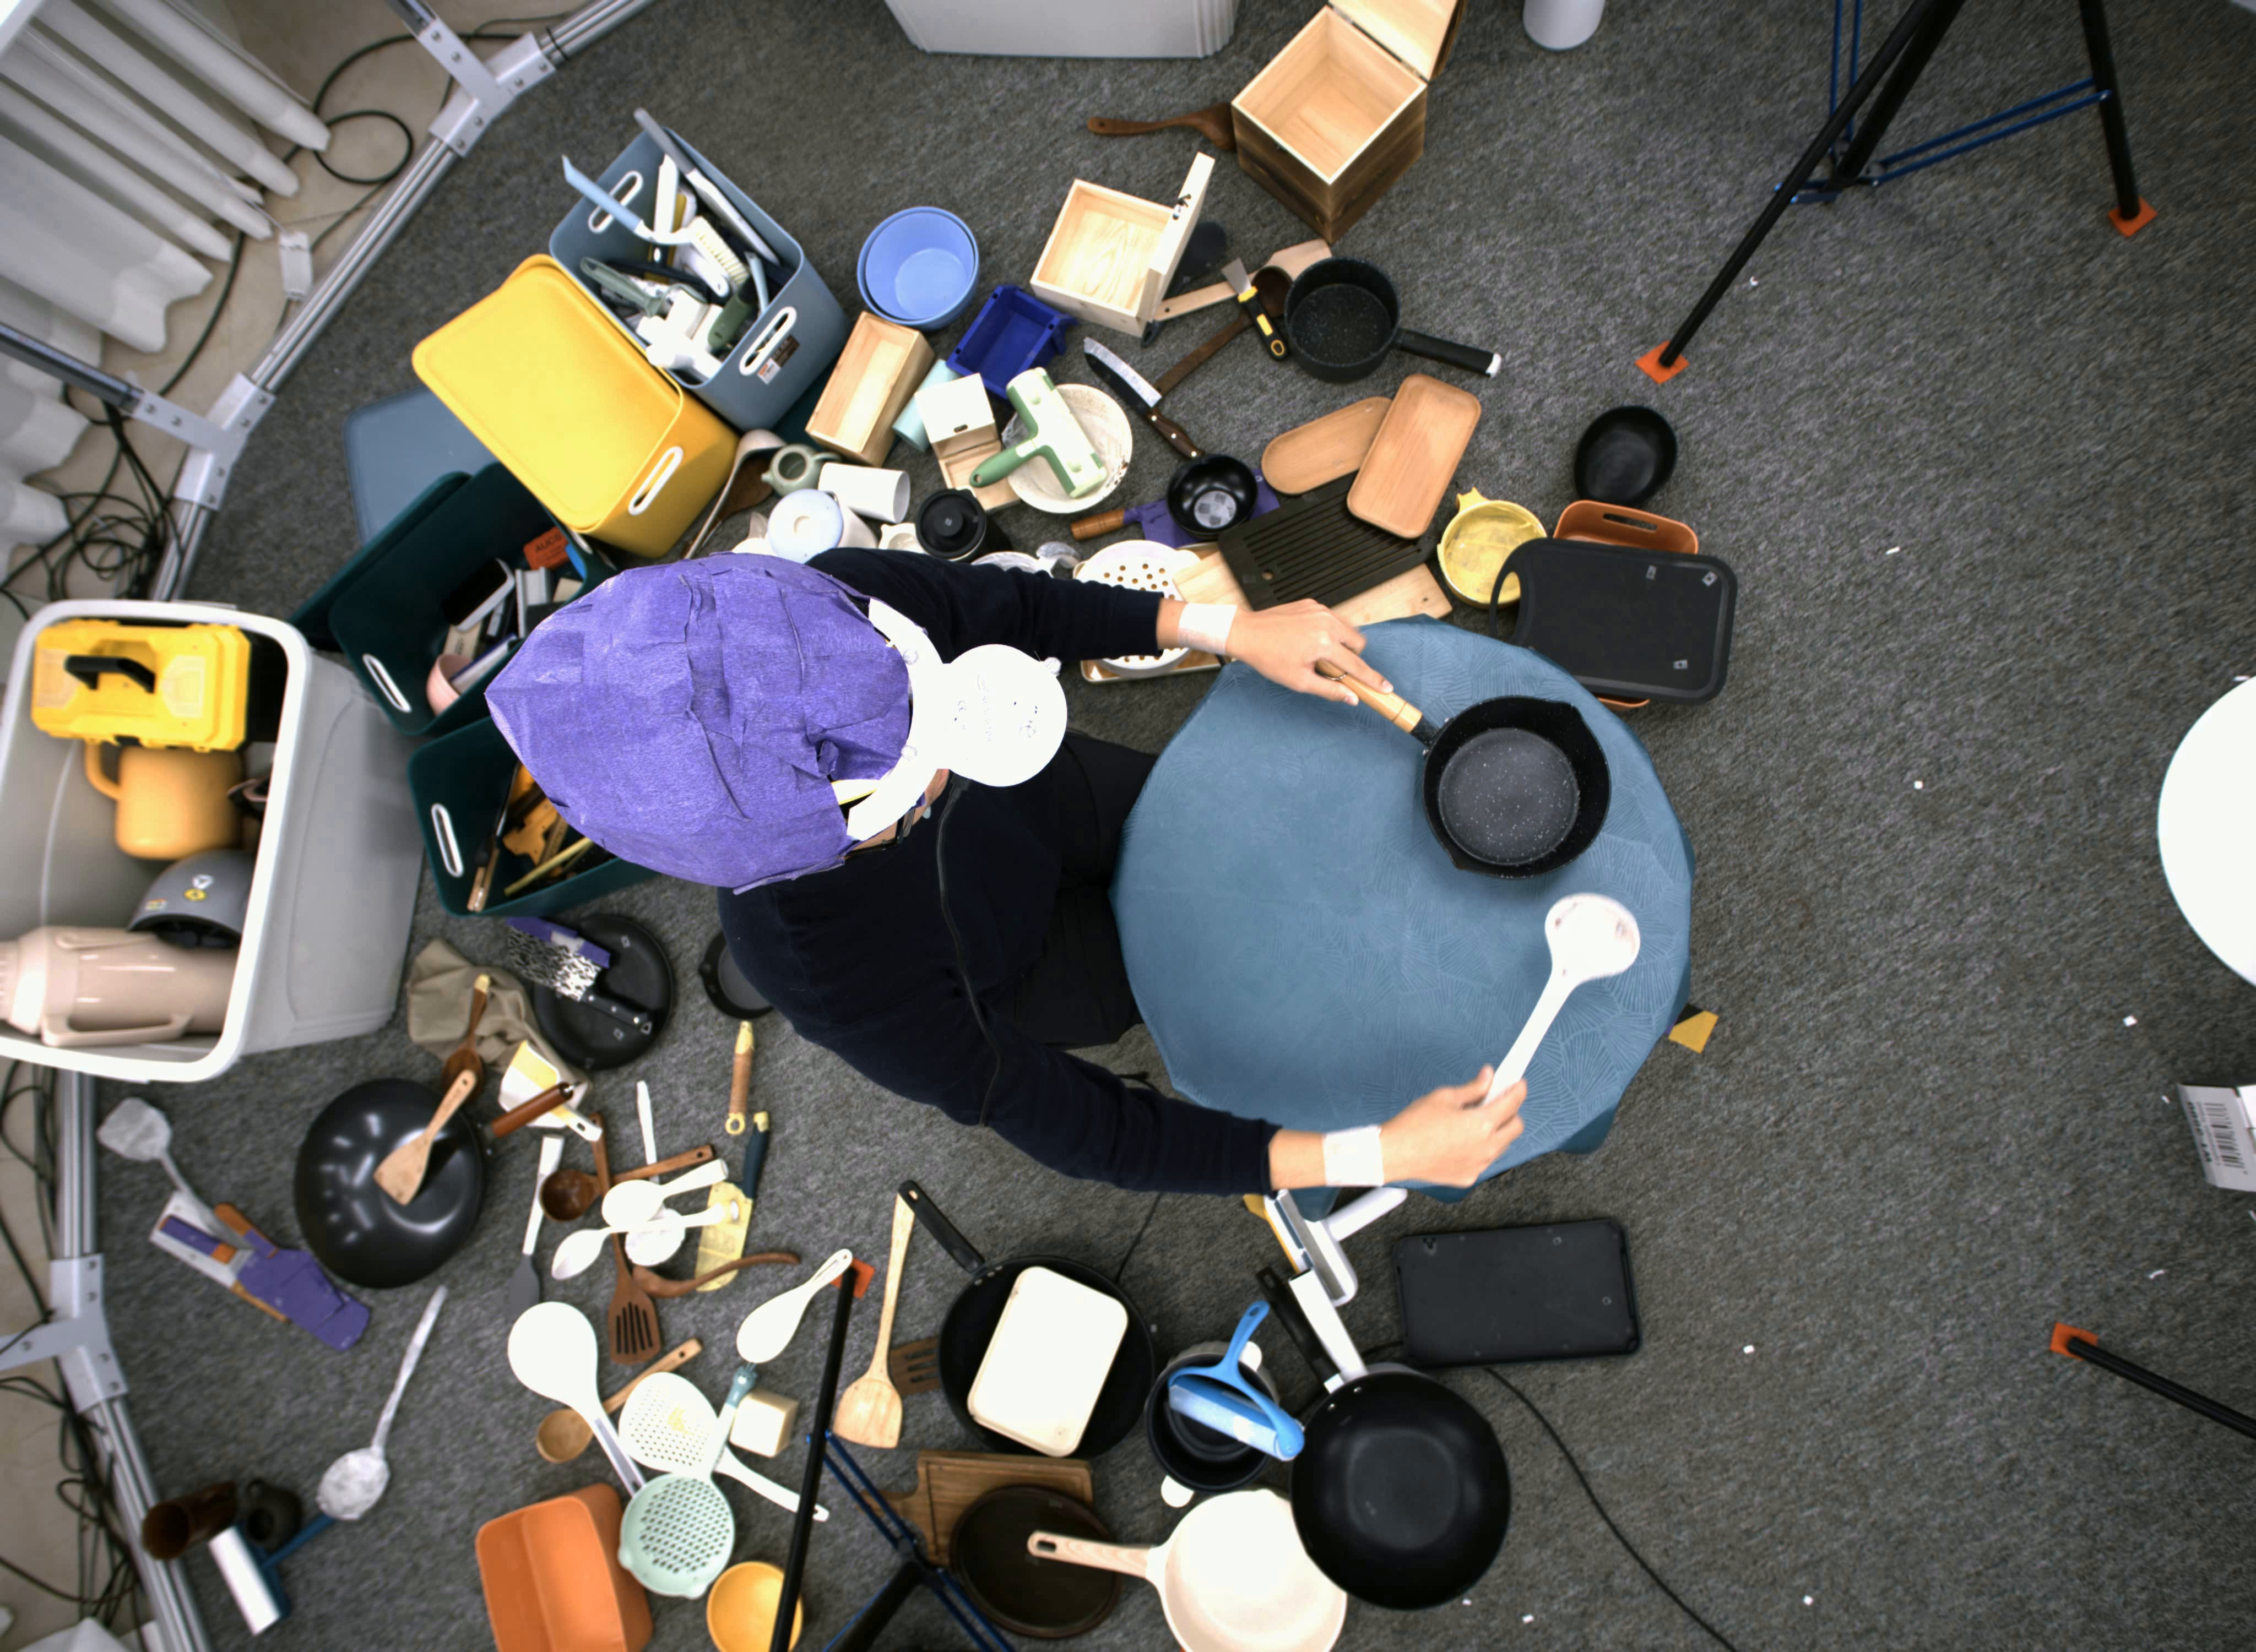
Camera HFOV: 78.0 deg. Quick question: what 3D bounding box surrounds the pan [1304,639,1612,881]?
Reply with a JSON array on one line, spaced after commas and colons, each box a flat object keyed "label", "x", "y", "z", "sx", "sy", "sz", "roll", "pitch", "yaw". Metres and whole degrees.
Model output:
[{"label": "pan", "x": 0.325, "y": -0.081, "z": 1.403, "sx": 0.342, "sy": 0.108, "sz": 0.208, "roll": 34, "pitch": 93, "yaw": 9}]

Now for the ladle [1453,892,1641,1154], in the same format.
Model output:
[{"label": "ladle", "x": 0.382, "y": 0.182, "z": 1.276, "sx": 0.089, "sy": 0.070, "sz": 0.271, "roll": 34, "pitch": 77, "yaw": 3}]
